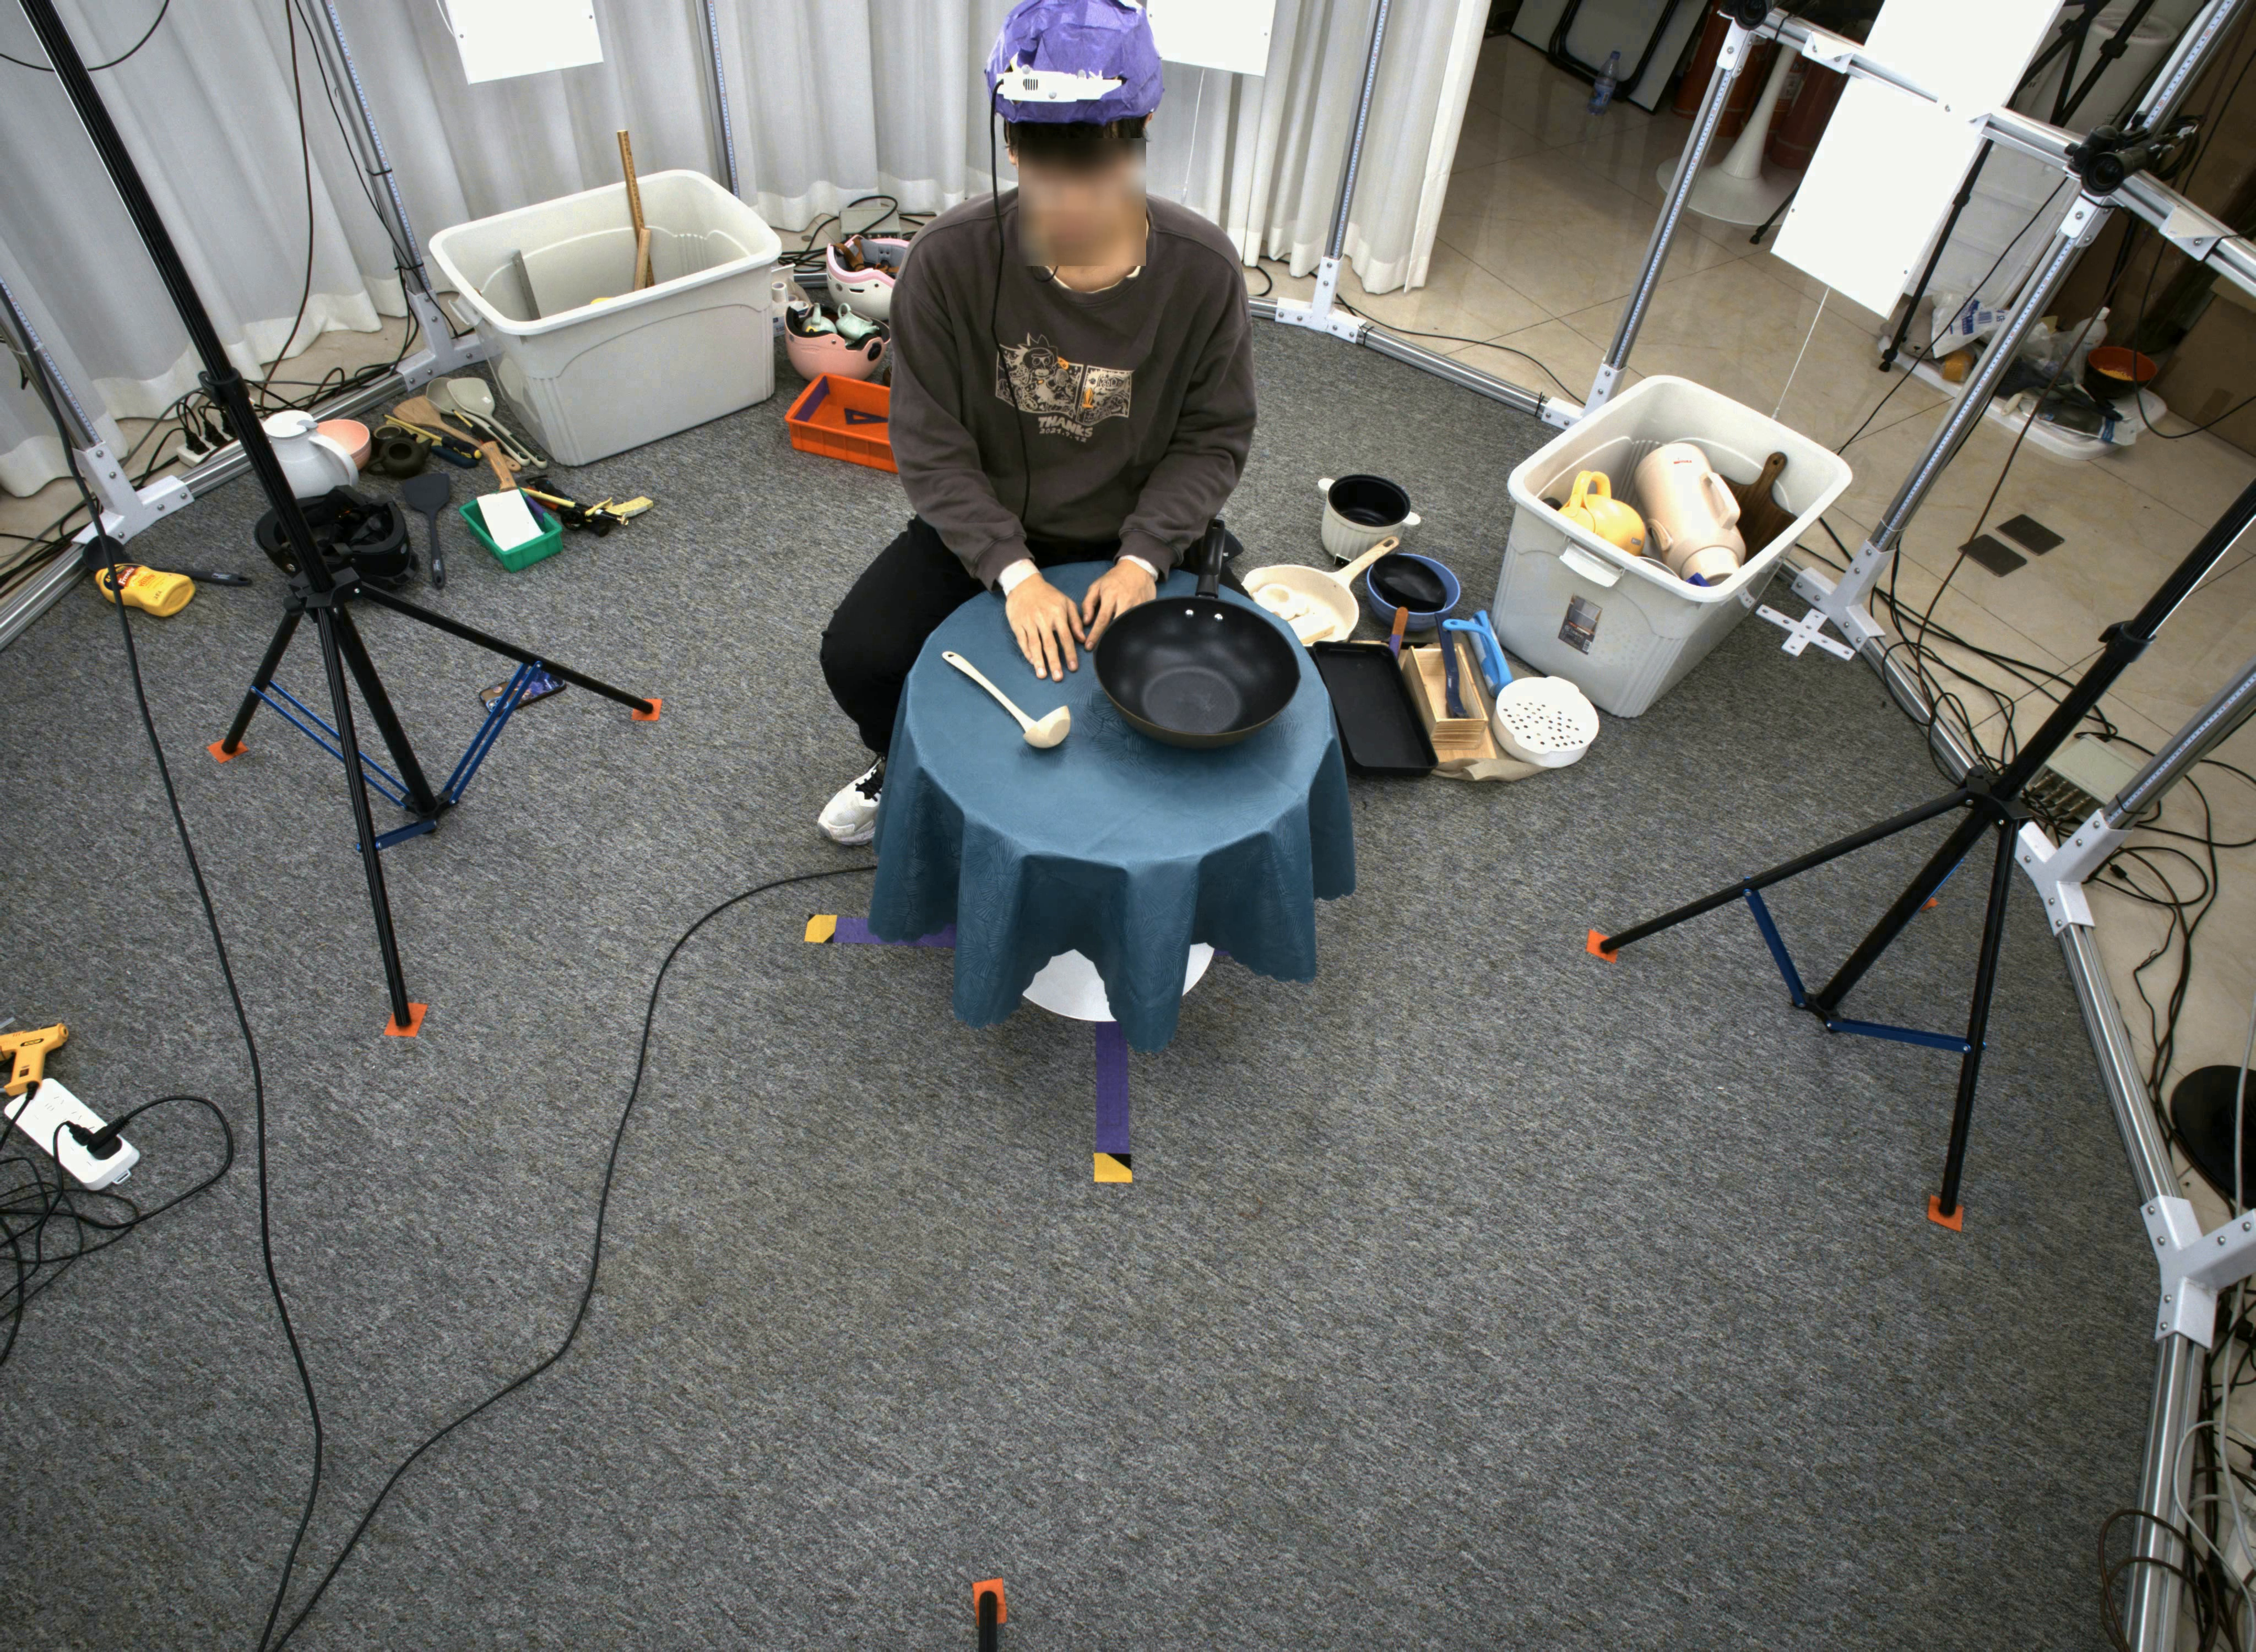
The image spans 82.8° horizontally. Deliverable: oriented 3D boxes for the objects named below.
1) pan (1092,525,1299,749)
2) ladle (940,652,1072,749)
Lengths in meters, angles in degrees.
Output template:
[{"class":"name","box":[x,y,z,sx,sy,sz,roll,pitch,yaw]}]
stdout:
[{"class":"pan","box":[0.104,-0.269,1.853,0.288,0.085,0.474,8,48,3]},{"class":"ladle","box":[-0.179,-0.196,1.778,0.073,0.071,0.258,-35,60,-27]}]
